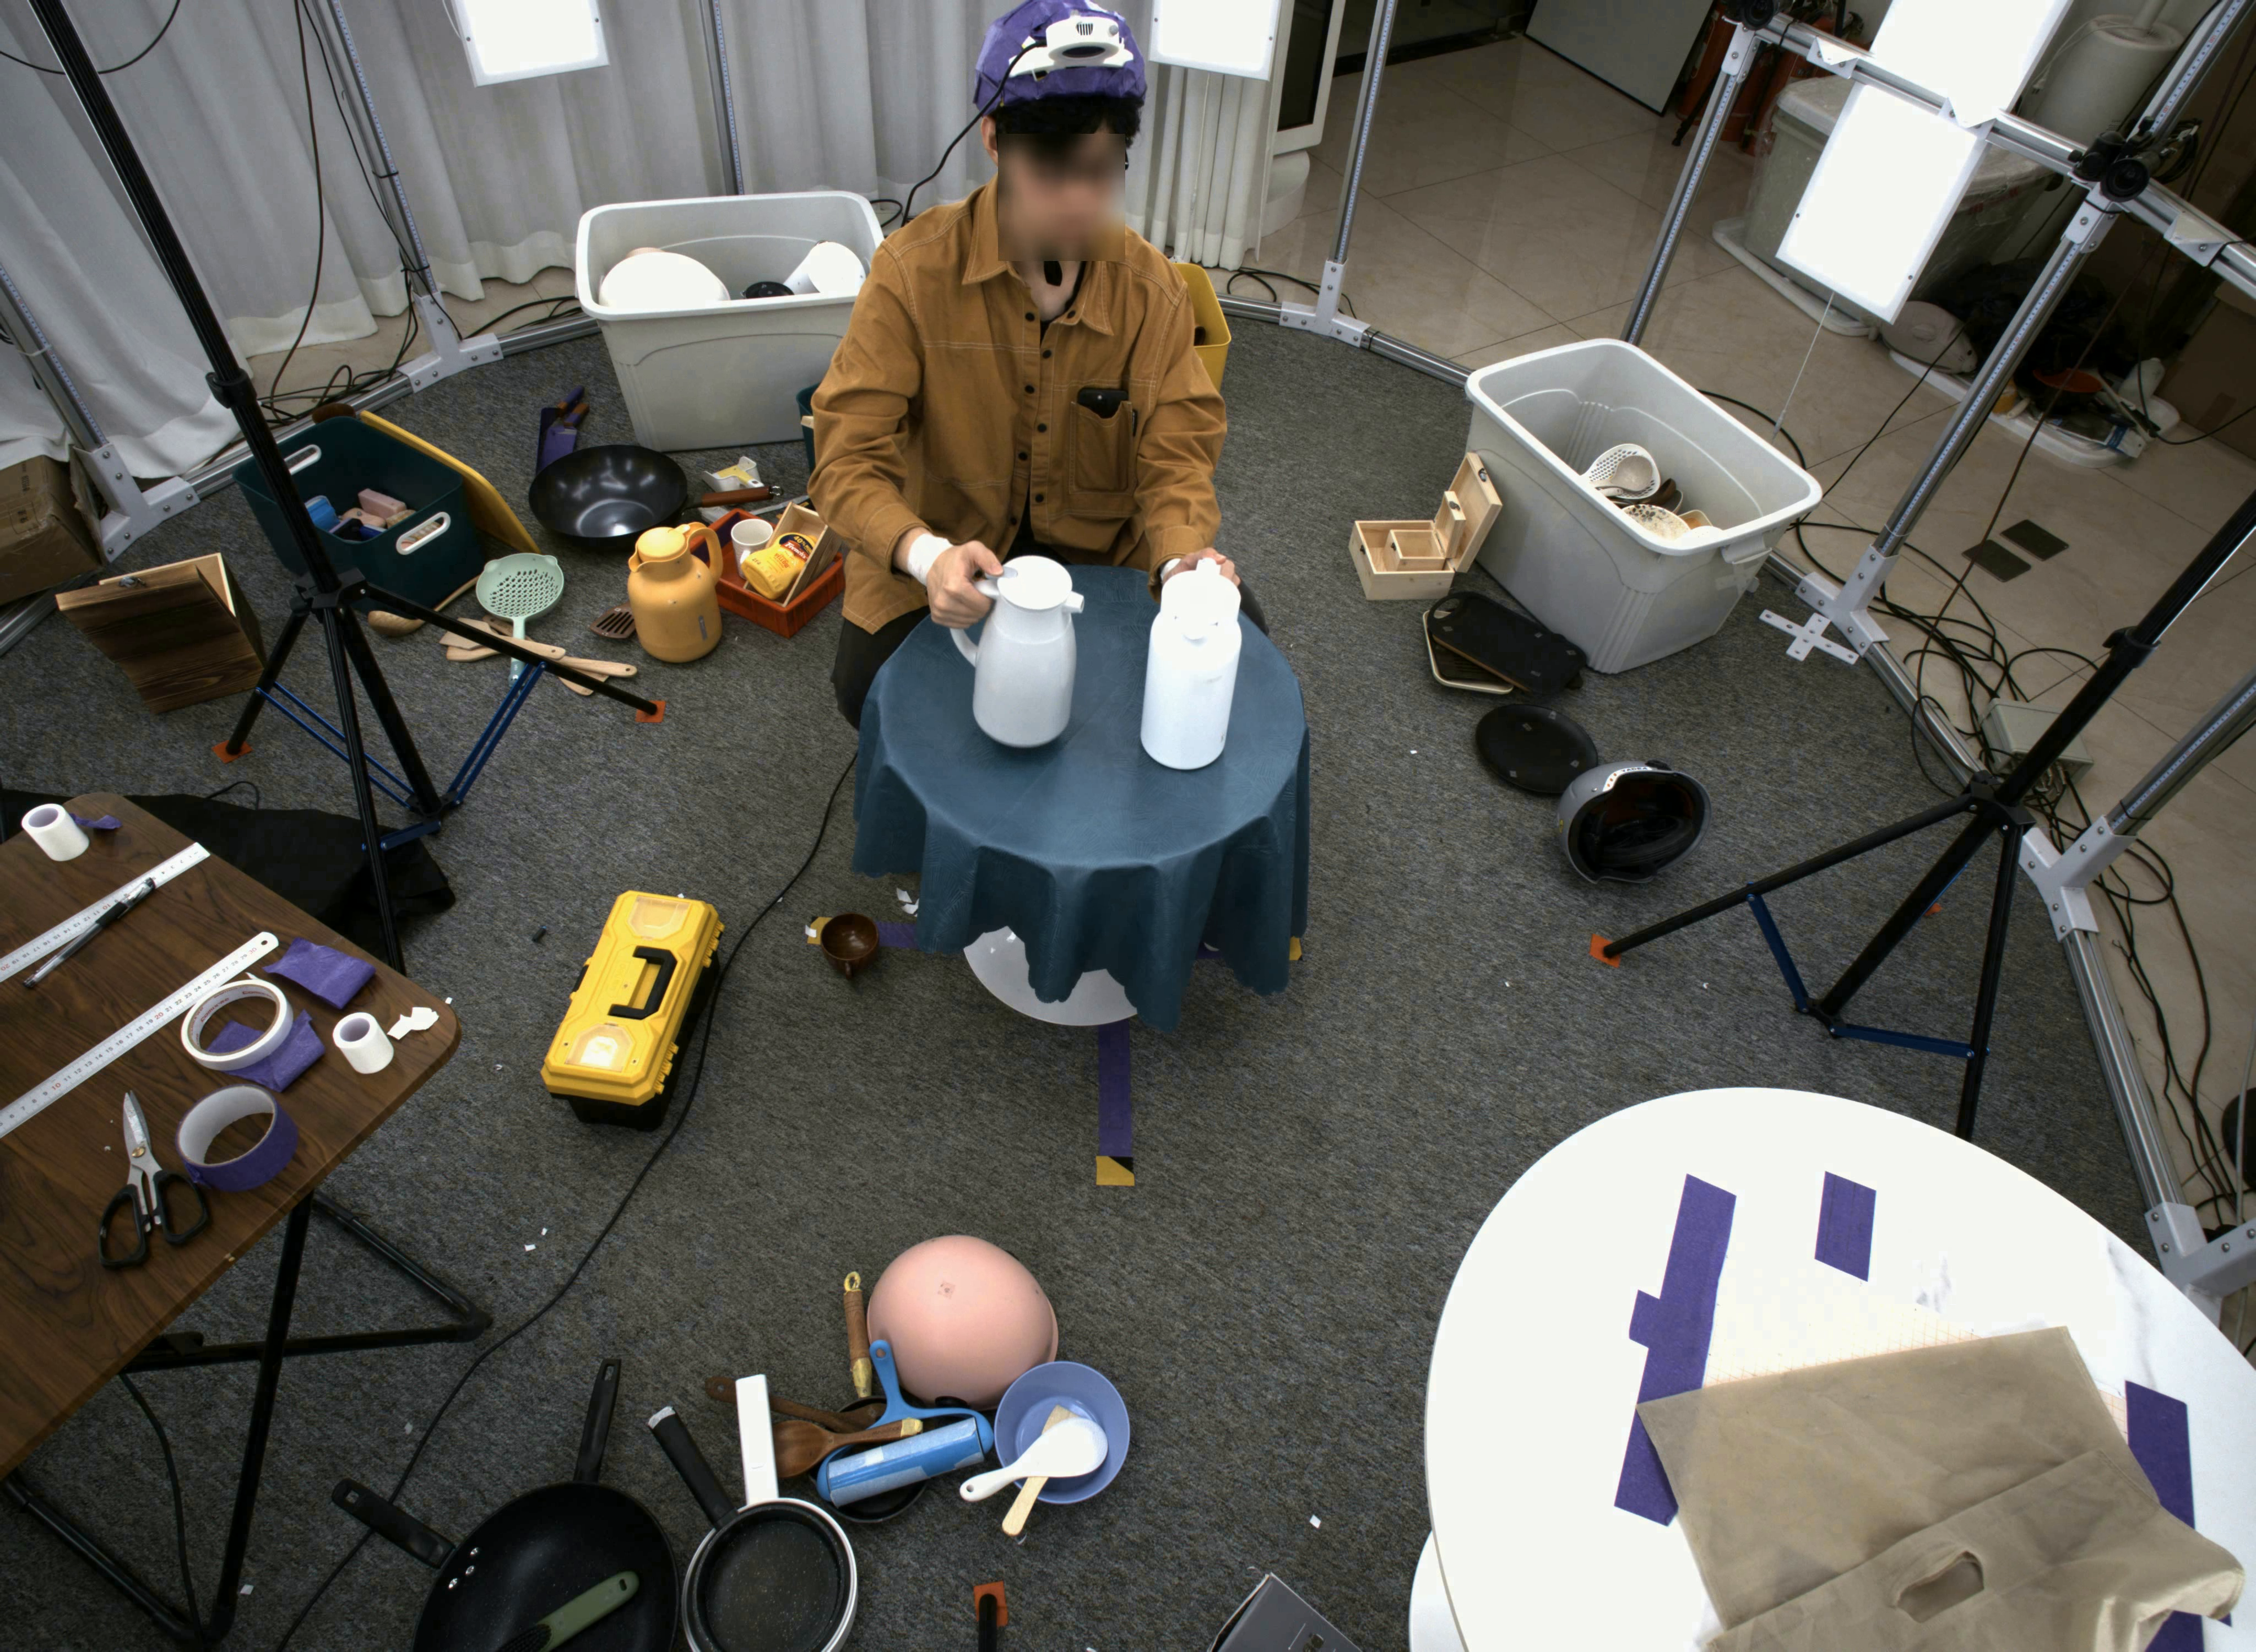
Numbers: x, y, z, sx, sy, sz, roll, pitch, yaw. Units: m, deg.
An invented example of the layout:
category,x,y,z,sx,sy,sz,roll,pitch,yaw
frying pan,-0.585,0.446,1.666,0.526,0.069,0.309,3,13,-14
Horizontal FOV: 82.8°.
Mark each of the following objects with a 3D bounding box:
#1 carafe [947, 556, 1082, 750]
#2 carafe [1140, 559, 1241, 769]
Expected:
category,x,y,z,sx,sy,sz,roll,pitch,yaw
carafe,-0.149,-0.230,1.646,0.168,0.243,0.135,13,52,3
carafe,0.083,-0.215,1.688,0.124,0.262,0.177,8,50,5
